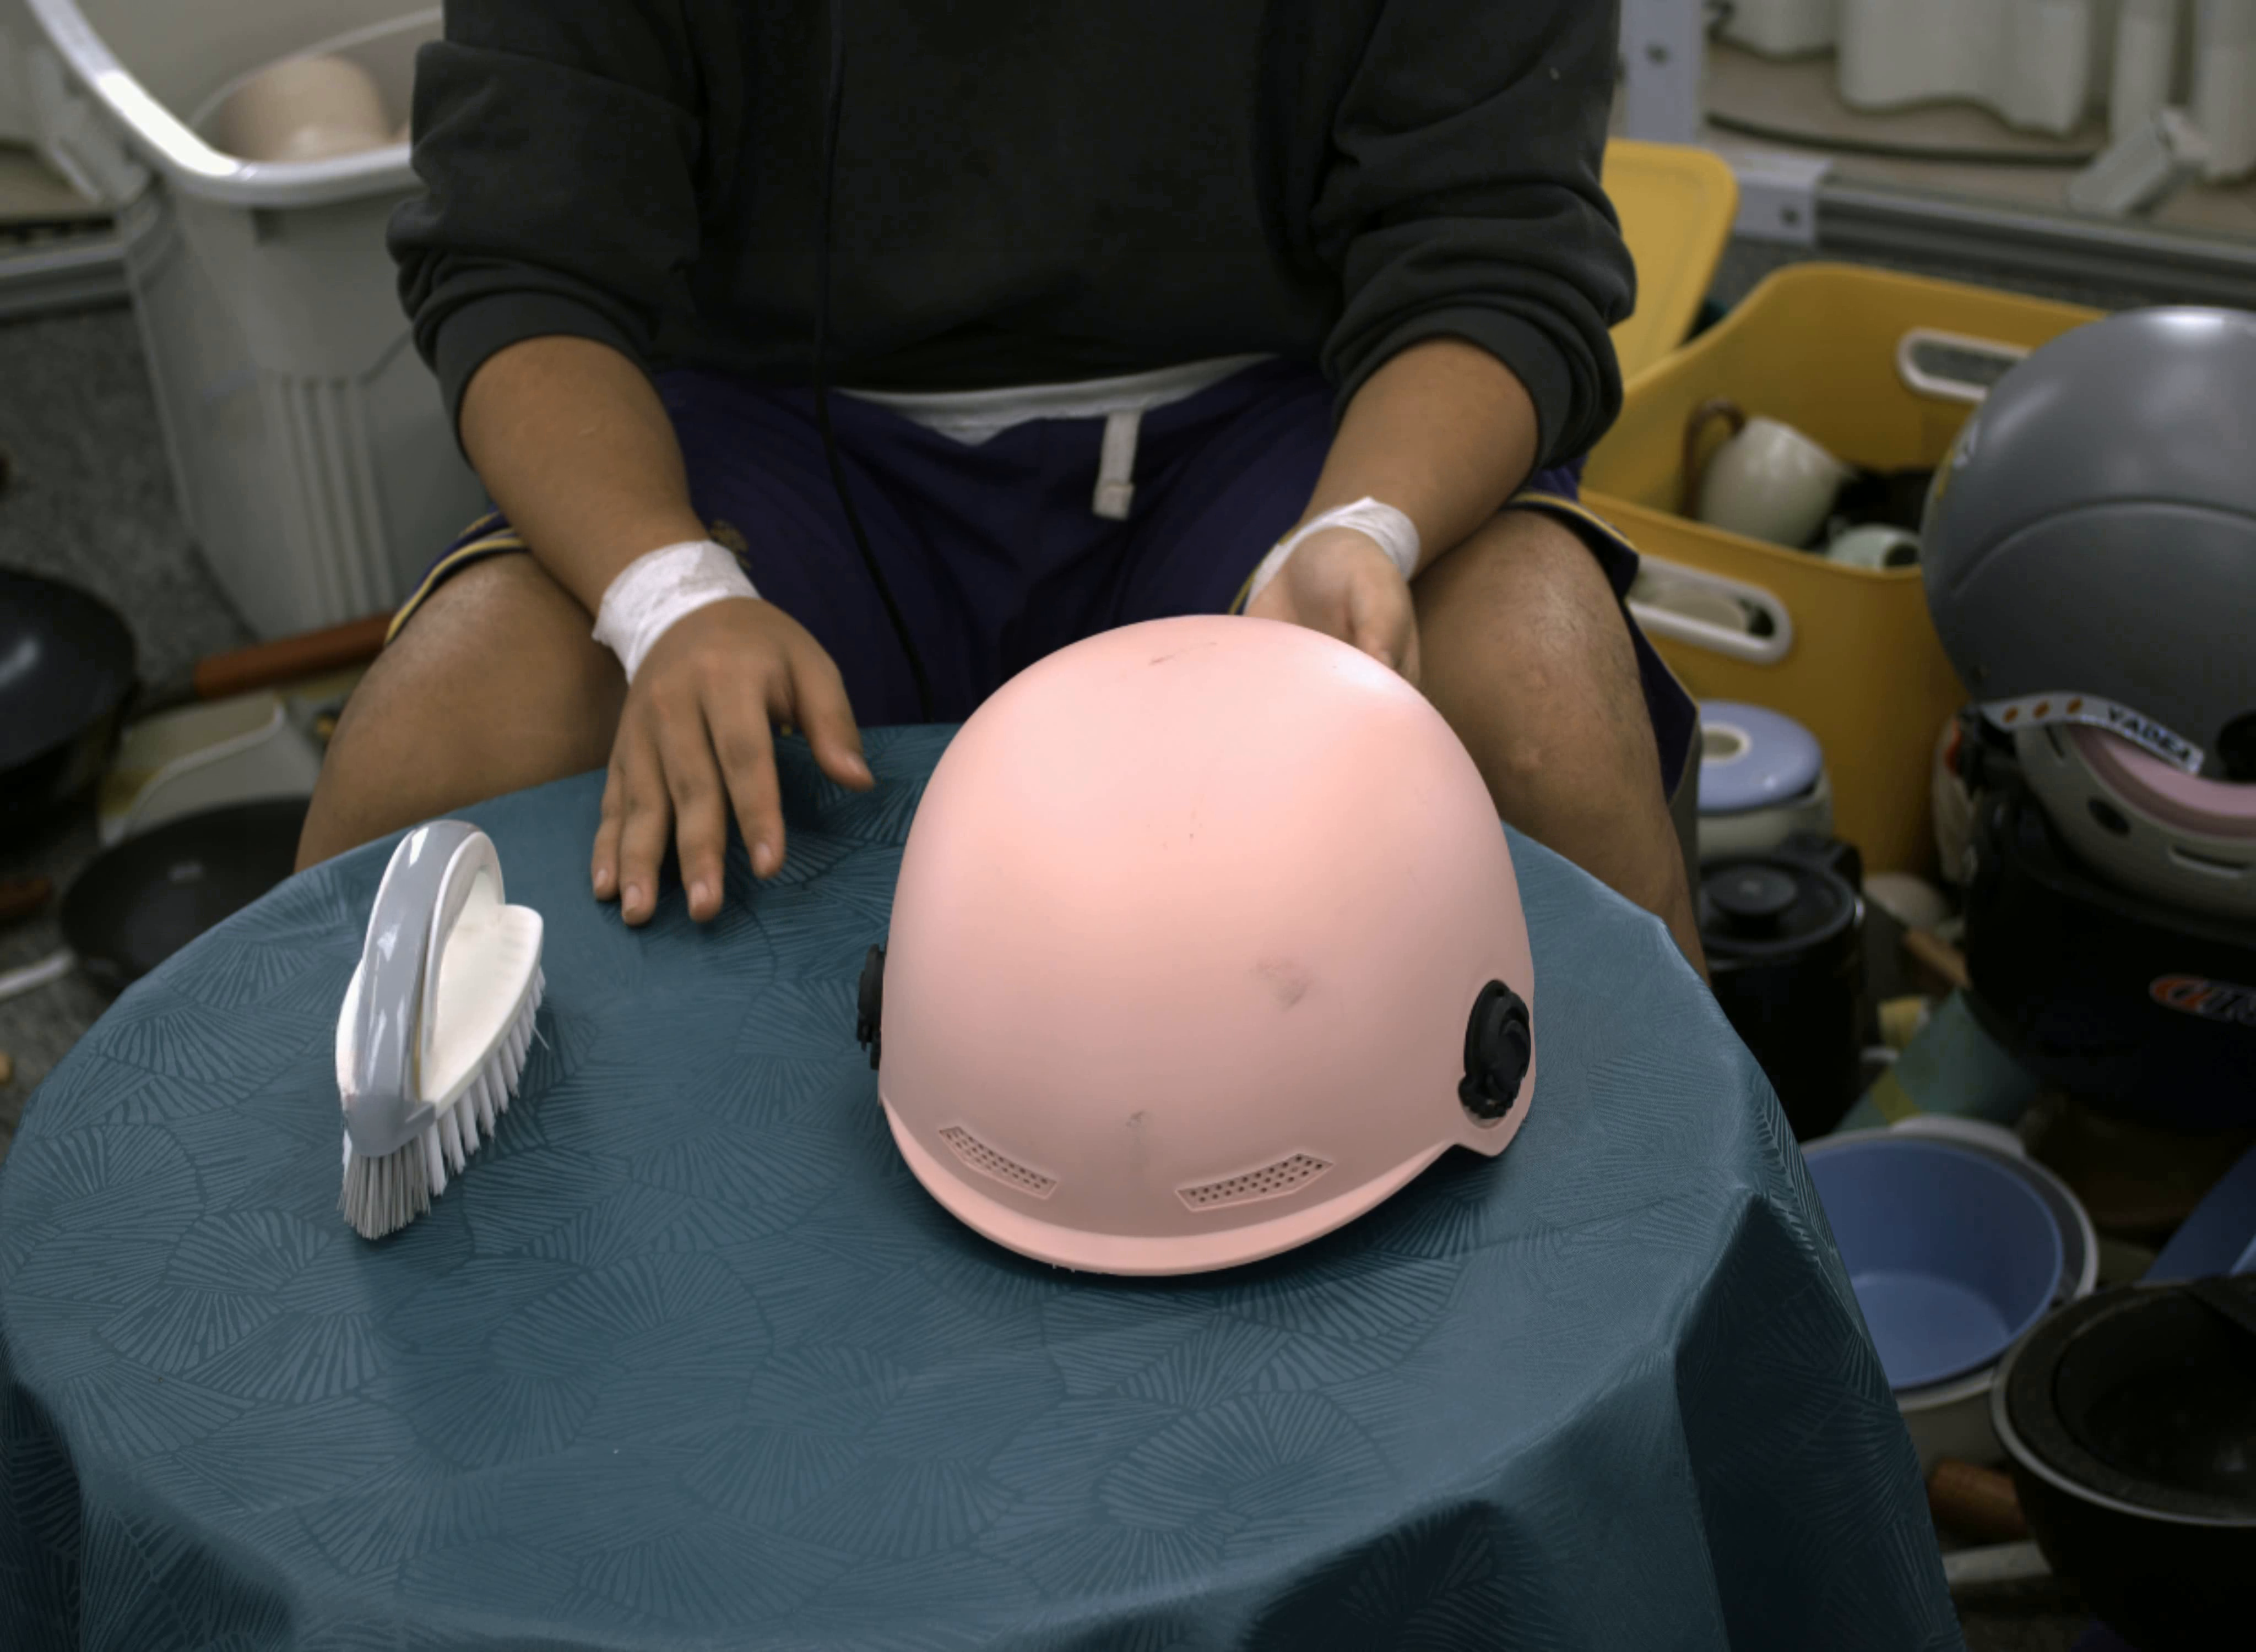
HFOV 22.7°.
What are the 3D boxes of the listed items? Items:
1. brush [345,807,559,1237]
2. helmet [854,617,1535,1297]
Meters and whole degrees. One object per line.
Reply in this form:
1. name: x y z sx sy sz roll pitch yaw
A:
1. brush: -0.238 0.059 1.909 0.061 0.093 0.178 -1 29 7
2. helmet: 0.022 0.024 1.887 0.232 0.157 0.271 4 32 12
